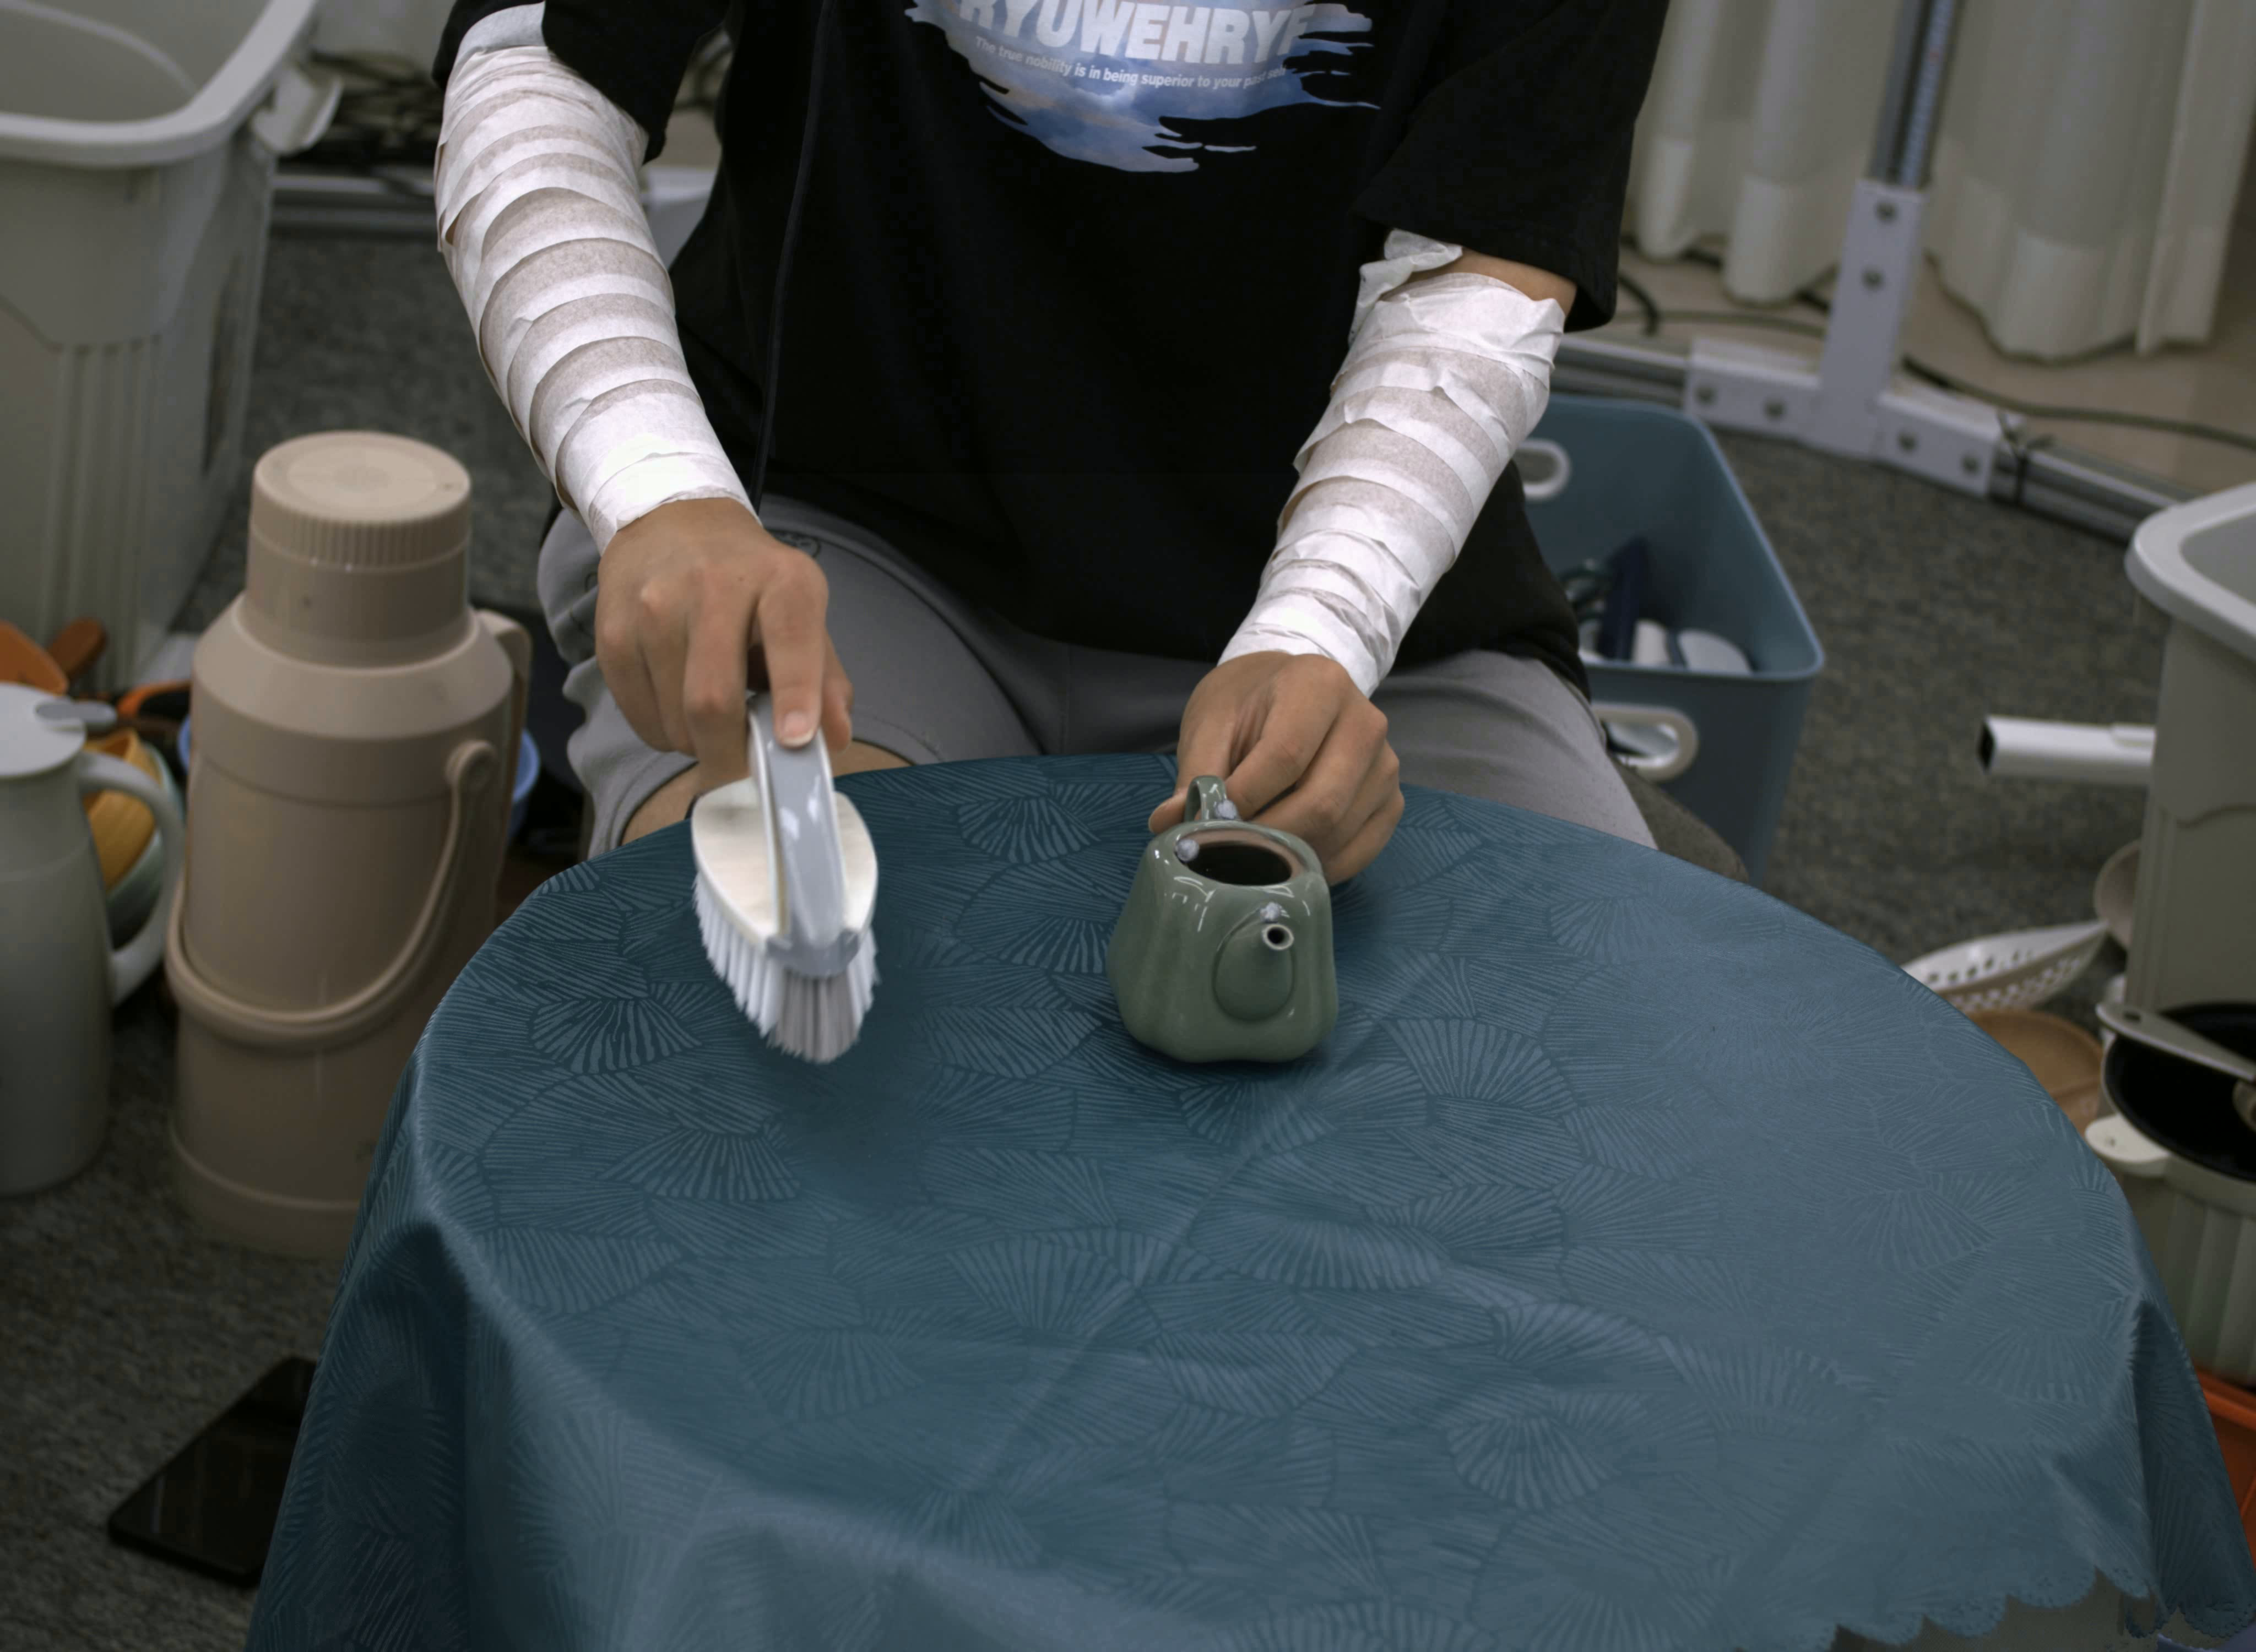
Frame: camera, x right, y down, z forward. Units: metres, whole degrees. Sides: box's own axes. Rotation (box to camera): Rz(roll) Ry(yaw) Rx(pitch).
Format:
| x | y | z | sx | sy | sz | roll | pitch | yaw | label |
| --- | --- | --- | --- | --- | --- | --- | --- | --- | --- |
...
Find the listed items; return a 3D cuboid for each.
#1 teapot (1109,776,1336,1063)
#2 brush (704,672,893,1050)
| x | y | z | sx | sy | sz | roll | pitch | yaw | label |
| --- | --- | --- | --- | --- | --- | --- | --- | --- | --- |
| 0.036 | 0.039 | 1.901 | 0.079 | 0.075 | 0.133 | 4 | 25 | -10 | teapot |
| -0.112 | 0.006 | 1.829 | 0.061 | 0.094 | 0.177 | -7 | 23 | -8 | brush |
